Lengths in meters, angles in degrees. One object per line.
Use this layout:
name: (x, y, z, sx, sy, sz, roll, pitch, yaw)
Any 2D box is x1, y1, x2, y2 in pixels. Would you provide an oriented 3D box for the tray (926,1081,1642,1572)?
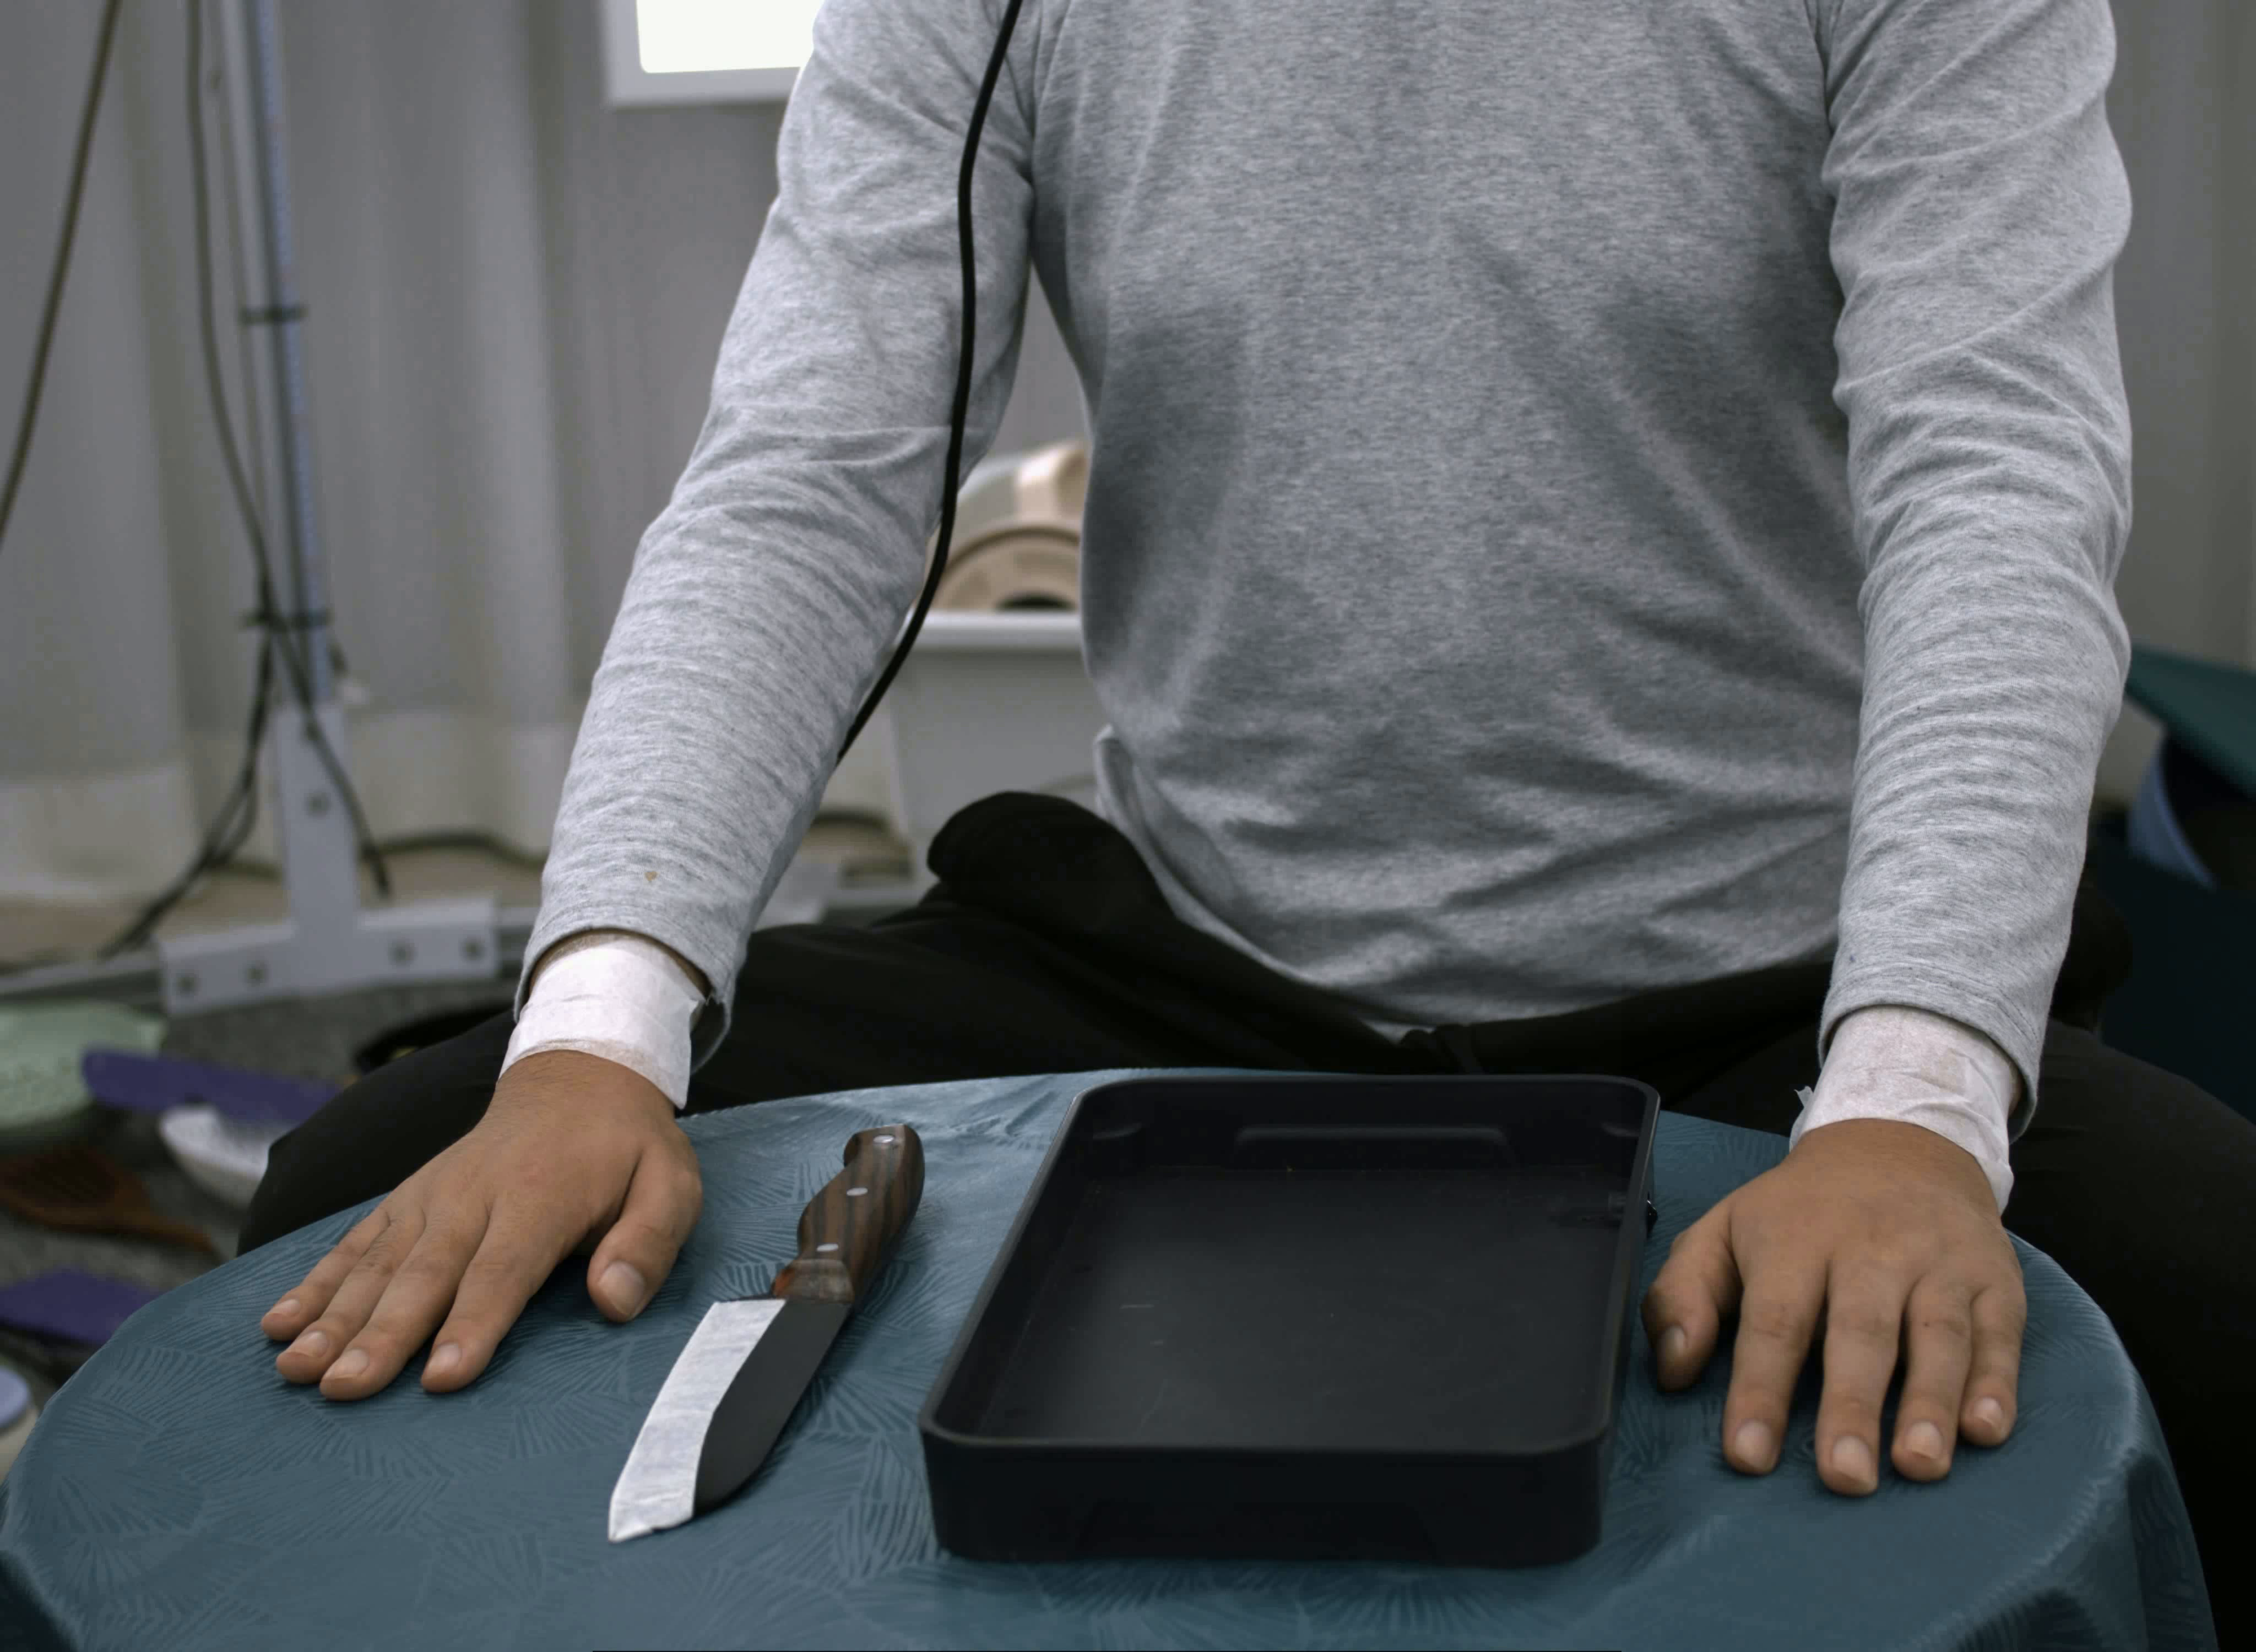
tray: (0.053, 0.137, 1.556, 0.184, 0.037, 0.319, -1, 14, 7)

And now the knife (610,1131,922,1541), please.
knife: (-0.103, 0.147, 1.587, 0.050, 0.020, 0.291, -4, 16, 14)
